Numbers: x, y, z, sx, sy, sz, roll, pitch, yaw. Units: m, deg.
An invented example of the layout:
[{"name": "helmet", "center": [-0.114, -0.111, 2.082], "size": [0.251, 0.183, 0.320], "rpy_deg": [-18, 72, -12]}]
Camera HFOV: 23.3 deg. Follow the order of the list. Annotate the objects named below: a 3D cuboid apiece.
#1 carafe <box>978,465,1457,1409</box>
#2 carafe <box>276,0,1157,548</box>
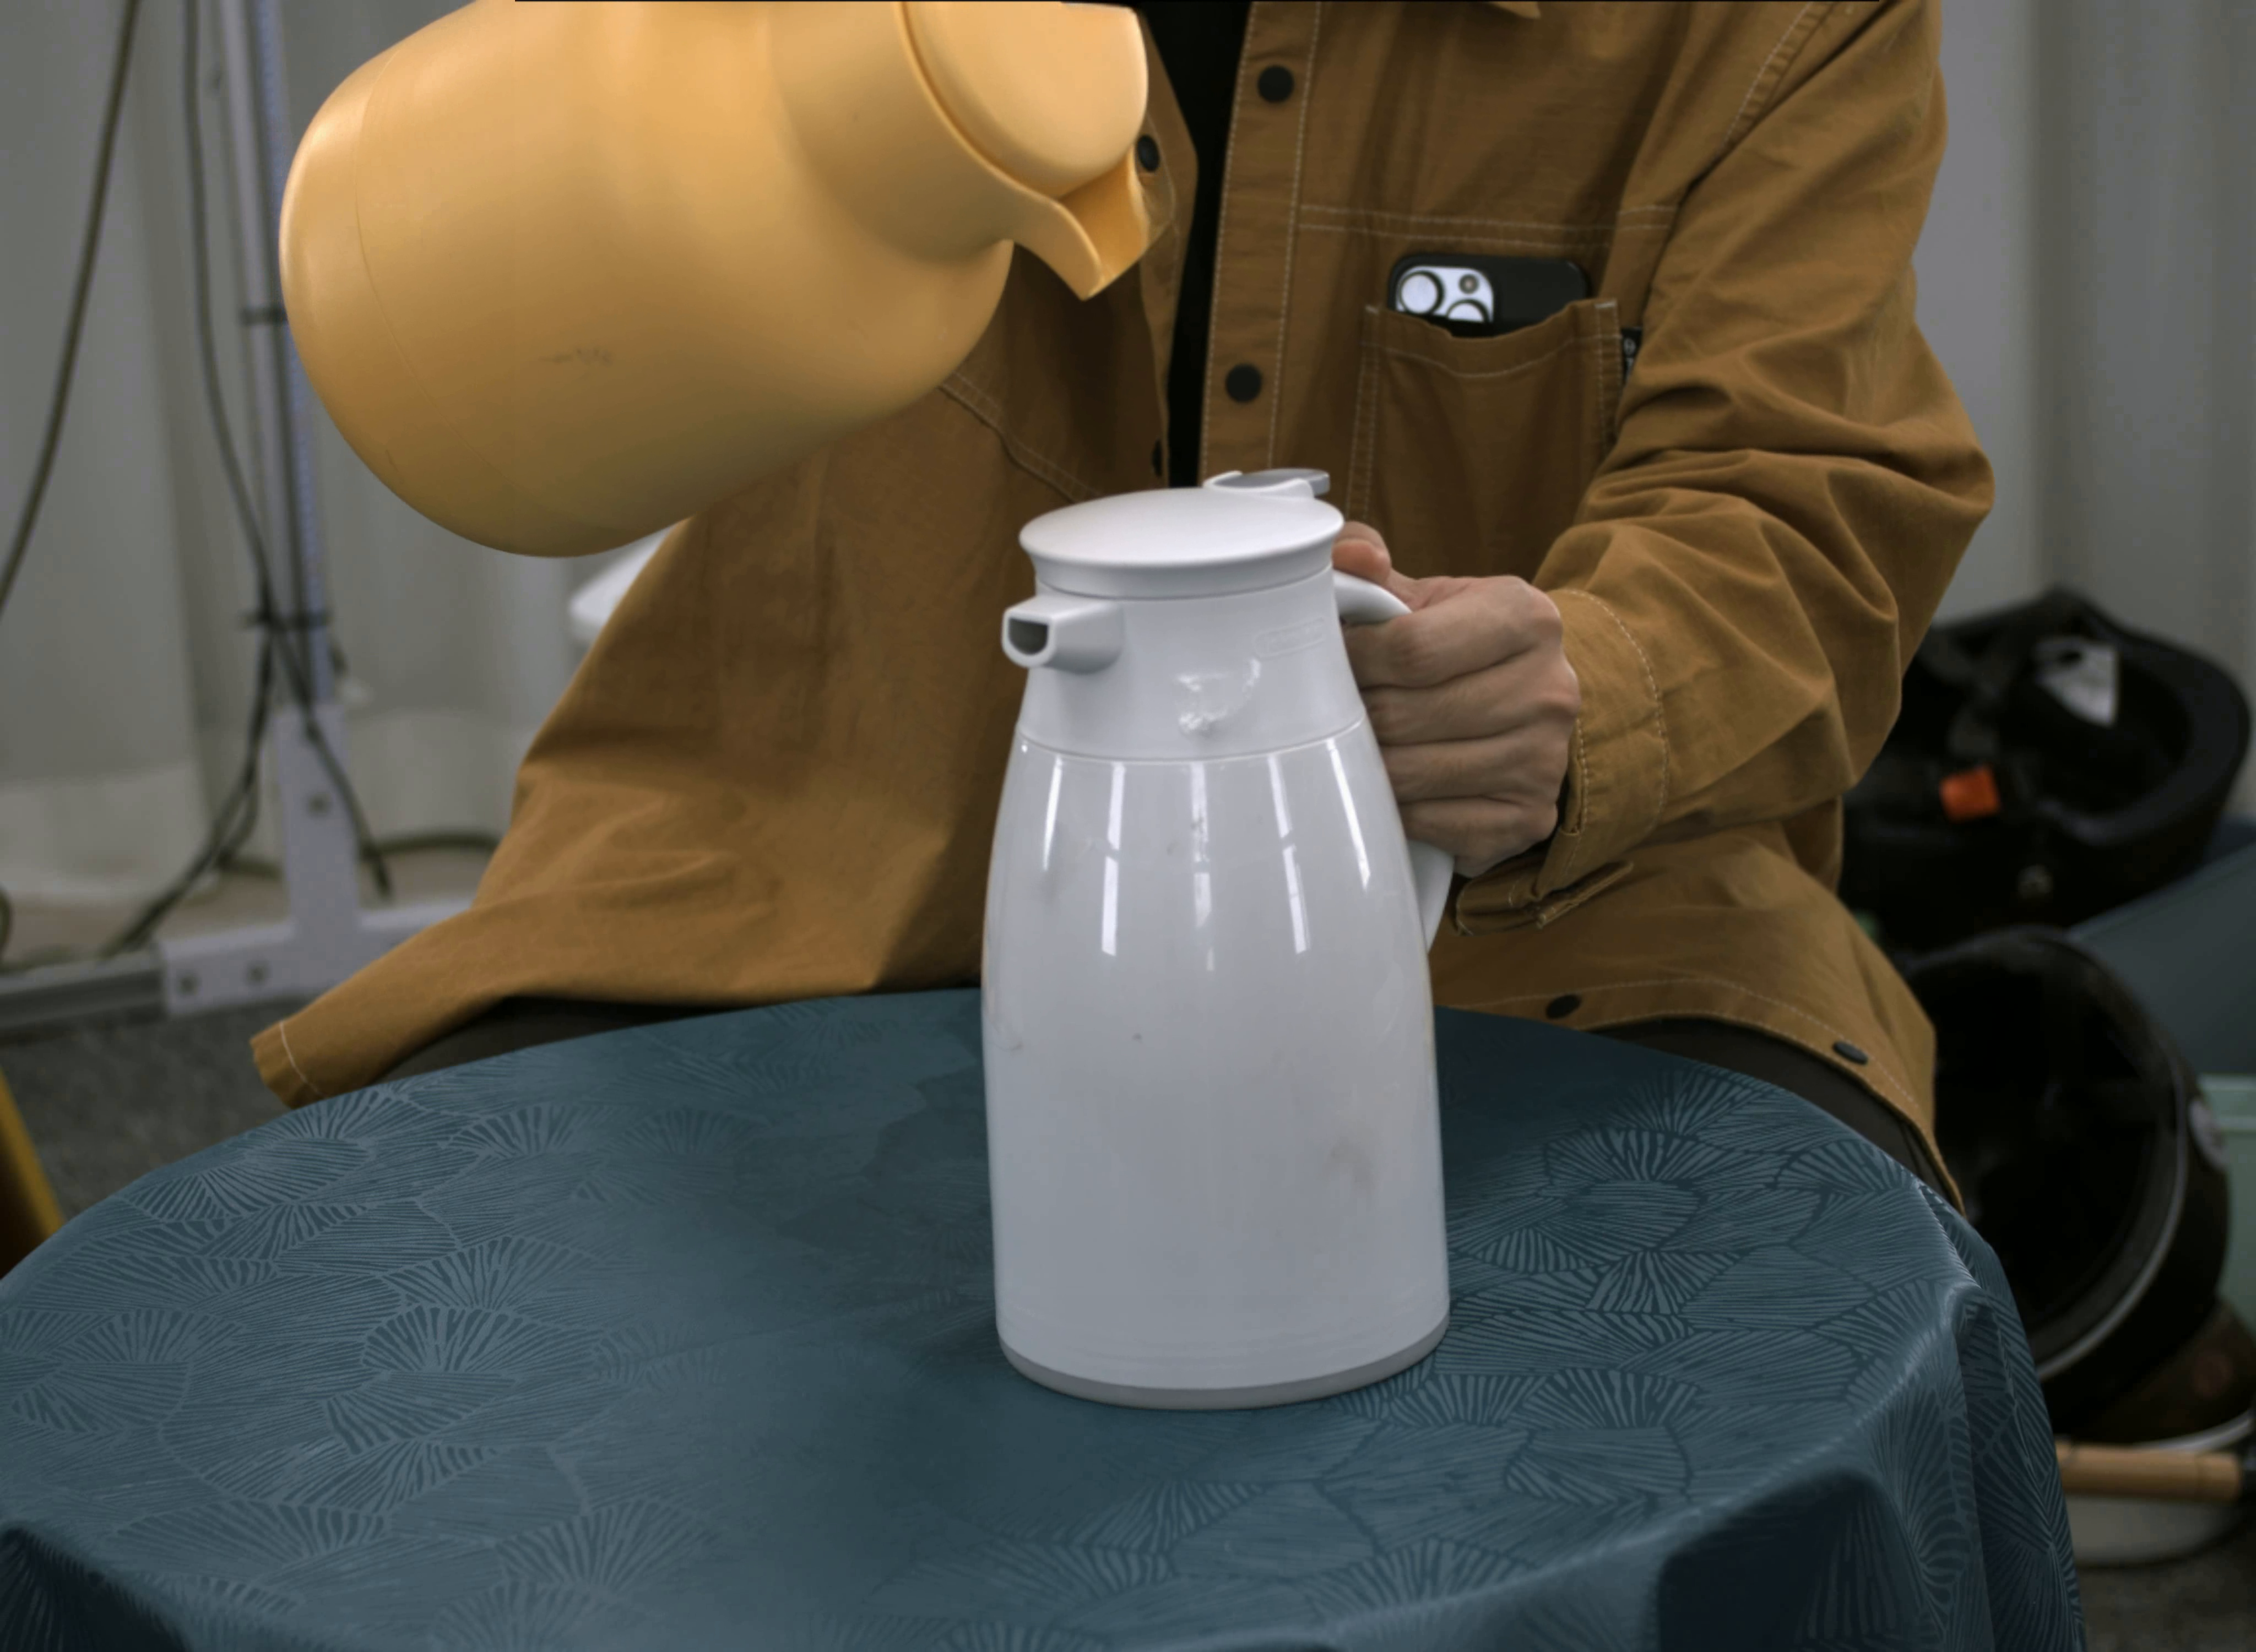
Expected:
[{"name": "carafe", "center": [0.033, 0.023, 1.573], "size": [0.133, 0.248, 0.167], "rpy_deg": [10, 18, 43]}, {"name": "carafe", "center": [-0.120, -0.205, 1.576], "size": [0.260, 0.202, 0.164], "rpy_deg": [-20, 7, 36]}]
